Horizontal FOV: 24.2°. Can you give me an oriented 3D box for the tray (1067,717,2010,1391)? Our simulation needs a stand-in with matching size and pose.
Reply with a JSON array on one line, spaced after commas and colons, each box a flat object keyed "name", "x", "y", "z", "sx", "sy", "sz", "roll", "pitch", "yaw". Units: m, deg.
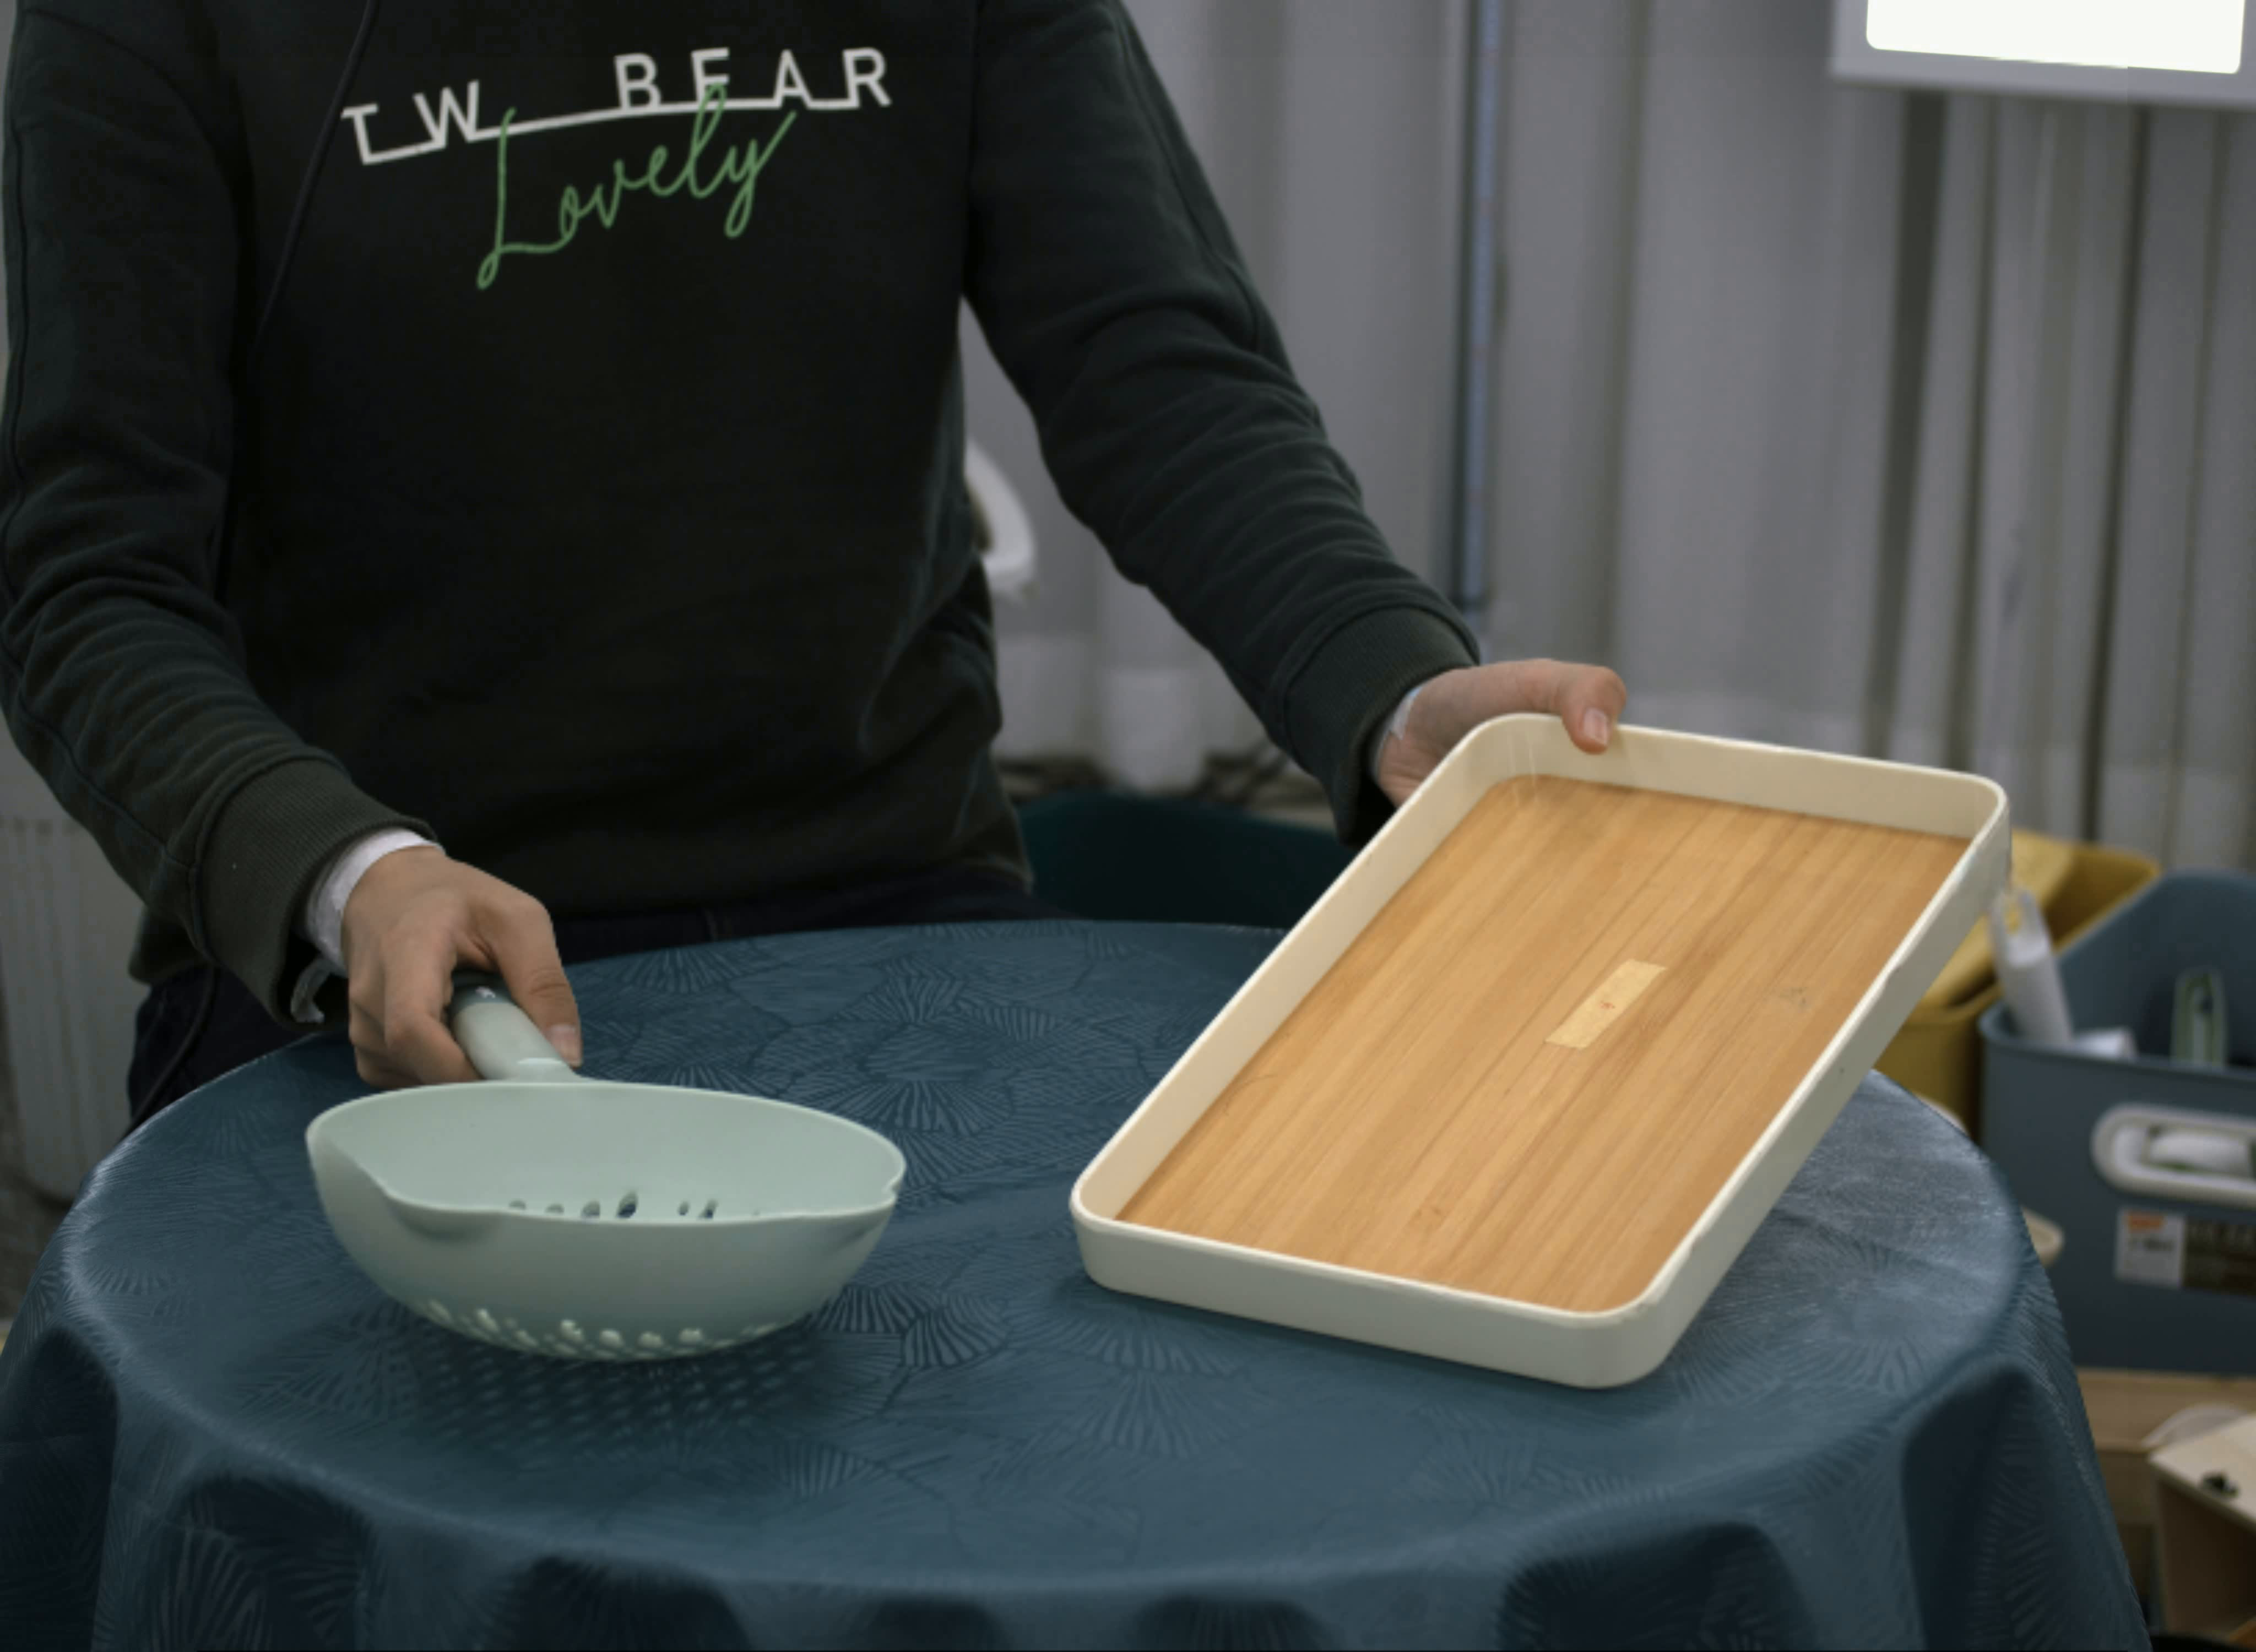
[{"name": "tray", "x": 0.131, "y": 0.061, "z": 1.605, "sx": 0.189, "sy": 0.028, "sz": 0.300, "roll": 10, "pitch": 36, "yaw": 29}]

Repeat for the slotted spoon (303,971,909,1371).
[{"name": "slotted spoon", "x": -0.173, "y": 0.087, "z": 1.570, "sx": 0.170, "sy": 0.076, "sz": 0.355, "roll": 2, "pitch": 18, "yaw": -17}]
